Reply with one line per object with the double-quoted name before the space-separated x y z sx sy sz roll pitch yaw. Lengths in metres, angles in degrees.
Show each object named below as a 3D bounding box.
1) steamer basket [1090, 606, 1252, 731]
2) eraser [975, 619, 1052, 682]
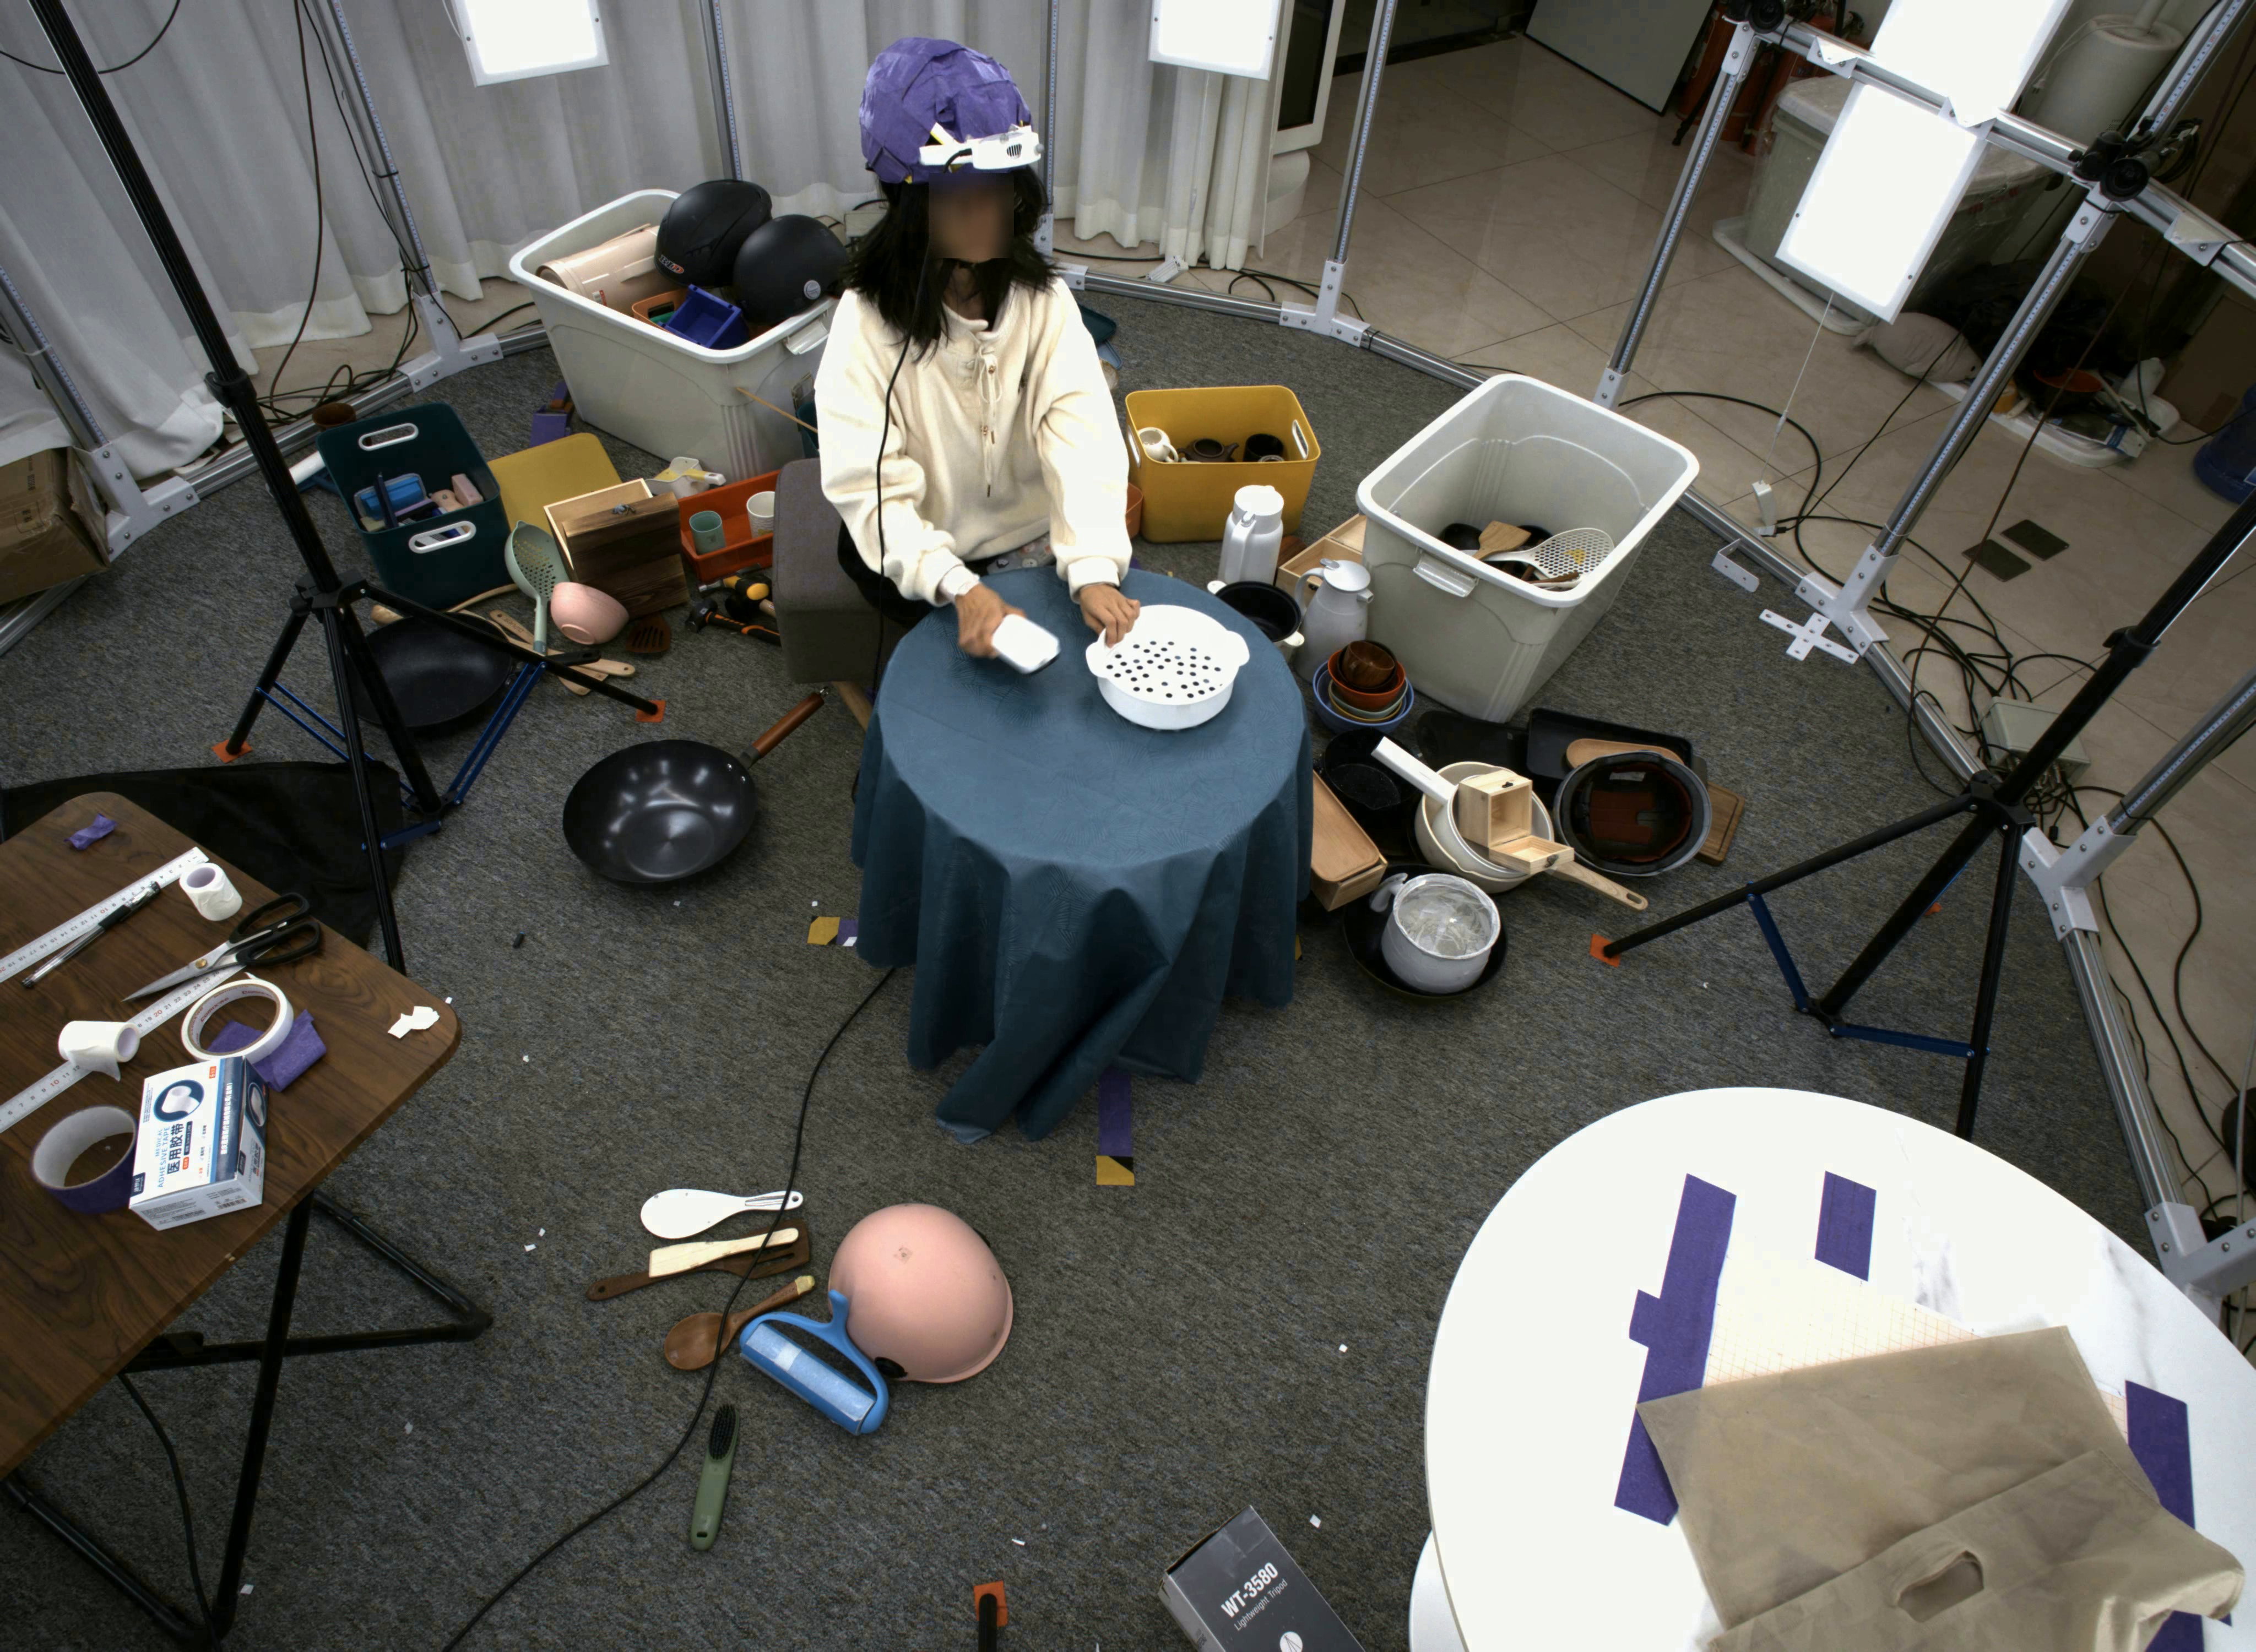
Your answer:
"steamer basket" 0.060 -0.224 1.825 0.230 0.067 0.207 -6 50 -10
"eraser" -0.159 -0.251 1.808 0.064 0.034 0.134 -33 45 -17
